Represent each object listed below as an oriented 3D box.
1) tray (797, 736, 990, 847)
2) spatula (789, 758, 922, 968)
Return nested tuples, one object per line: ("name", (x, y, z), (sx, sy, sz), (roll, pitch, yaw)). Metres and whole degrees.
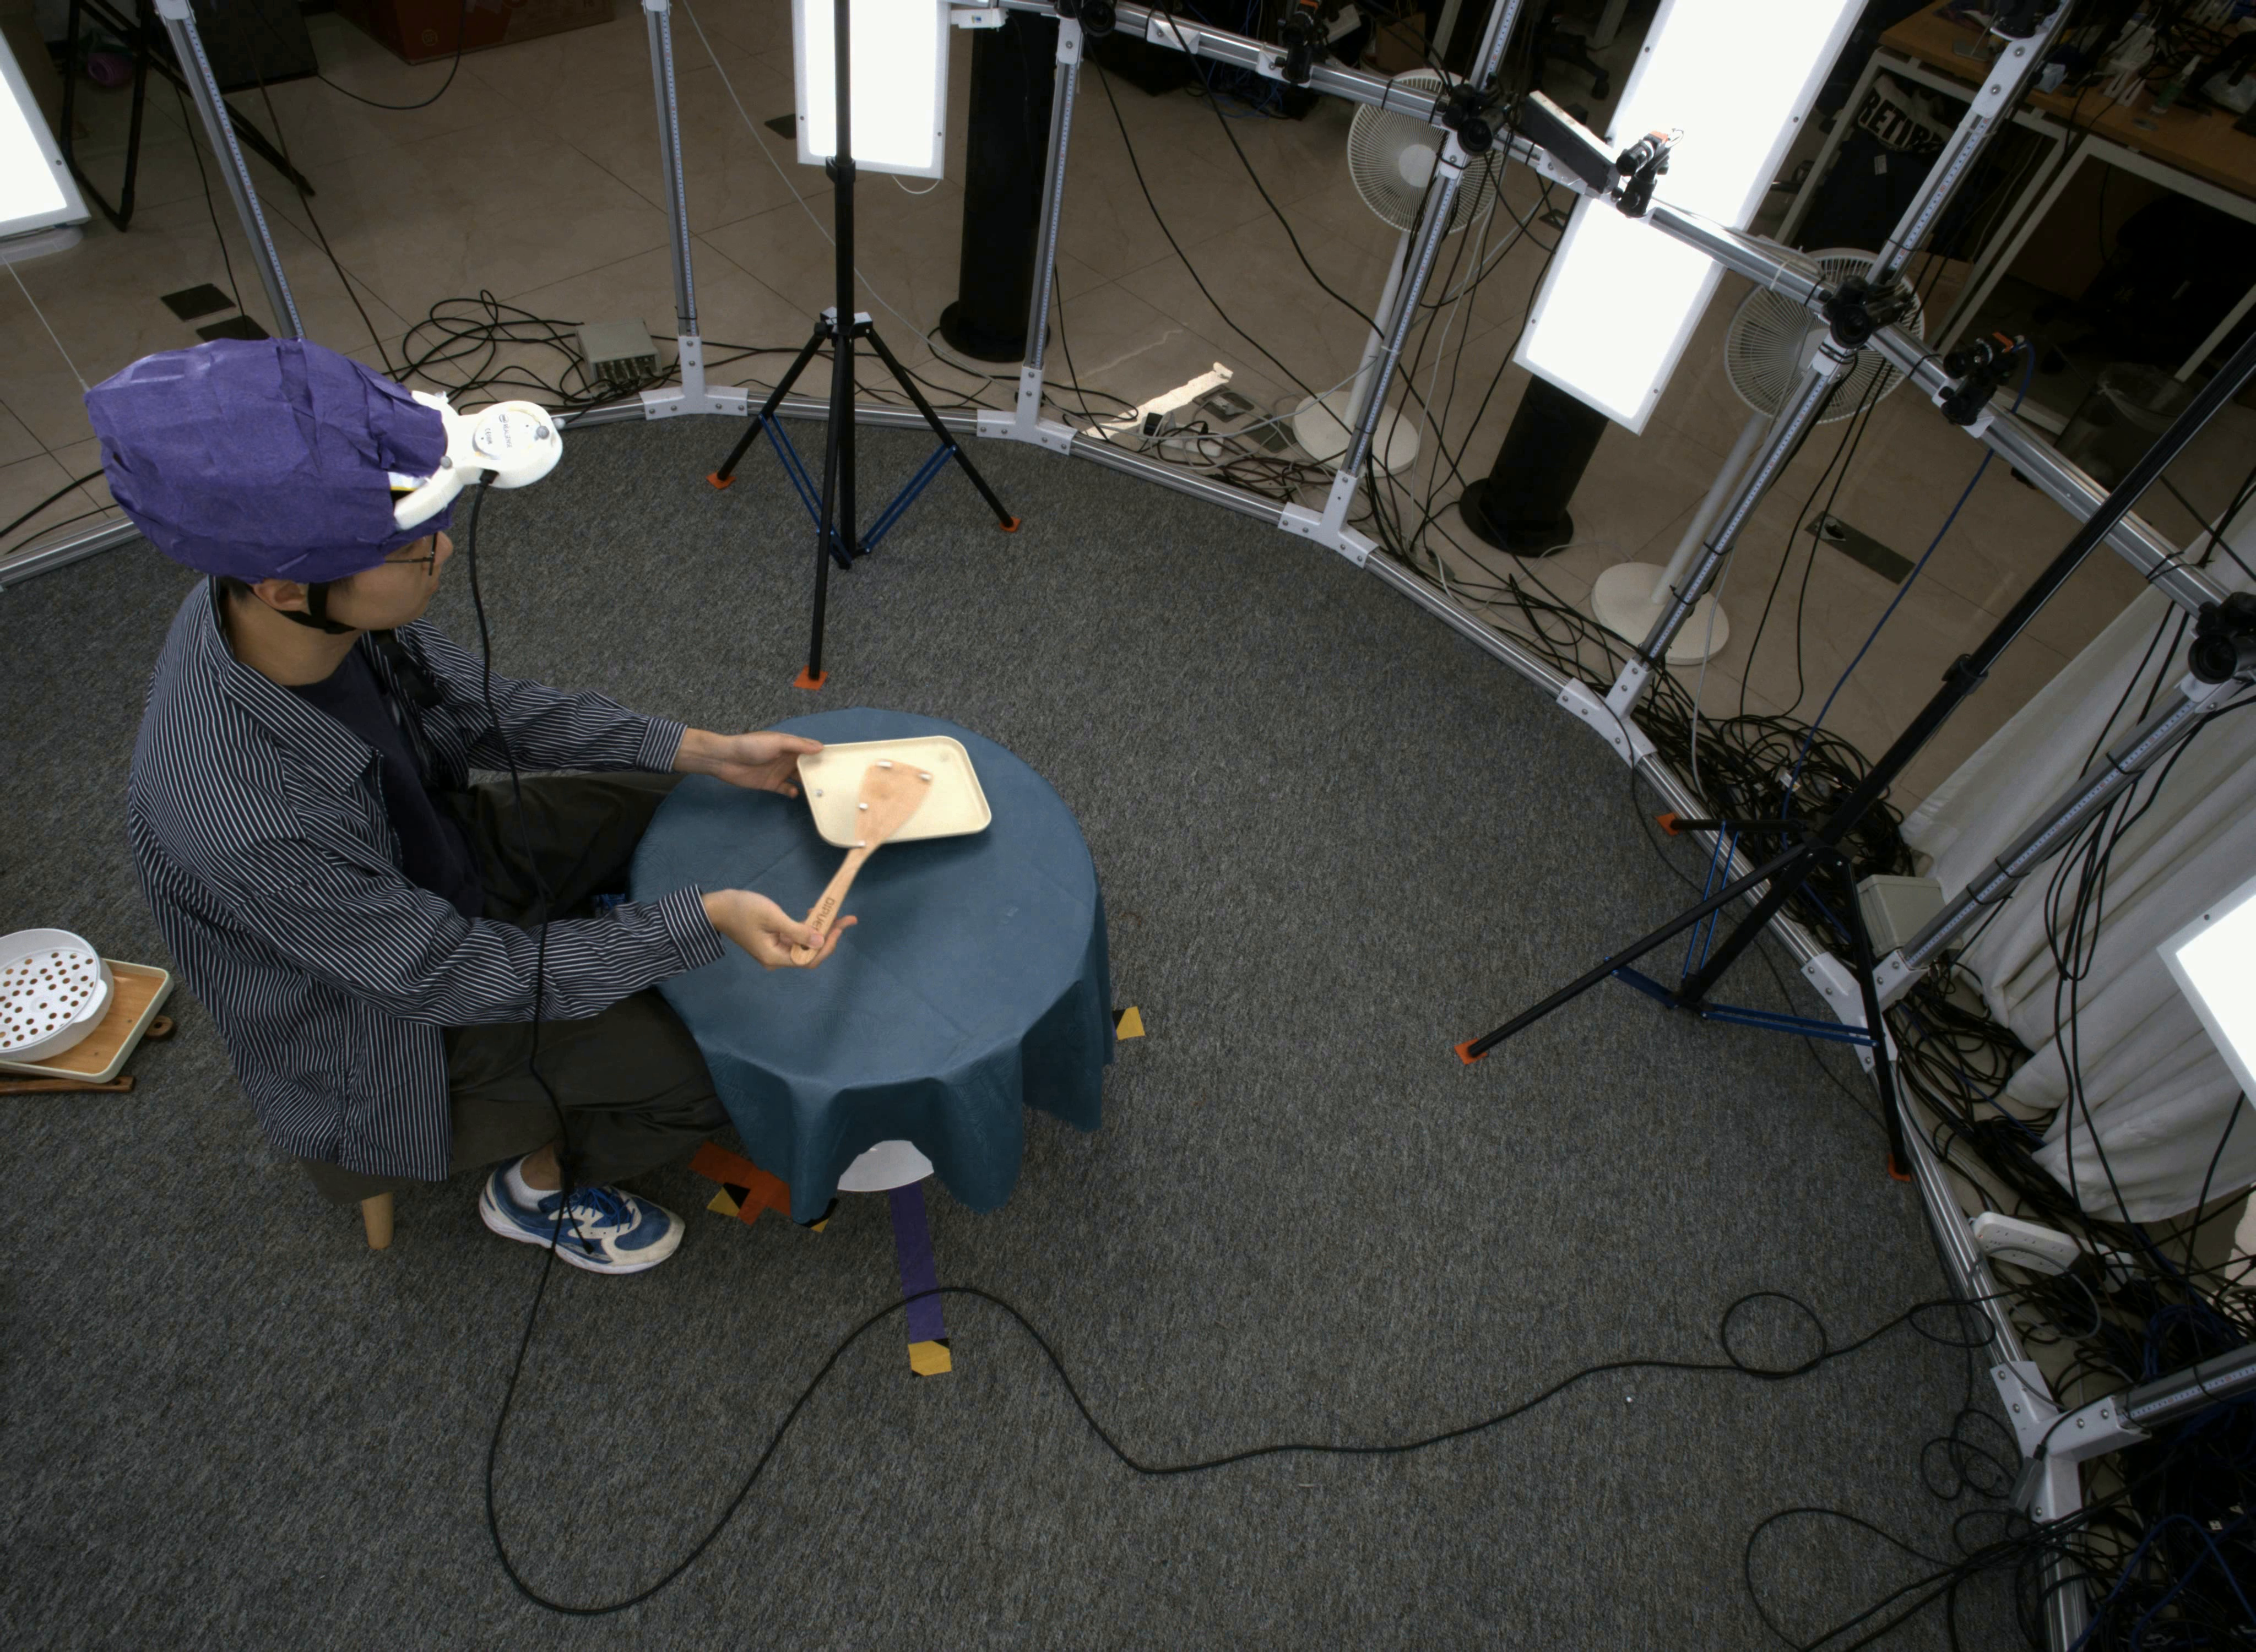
("tray", (-0.315, -0.047, 1.749), (0.242, 0.018, 0.167), (-7, 55, -30))
("spatula", (-0.329, 0.035, 1.529), (0.080, 0.017, 0.323), (24, 47, -8))
